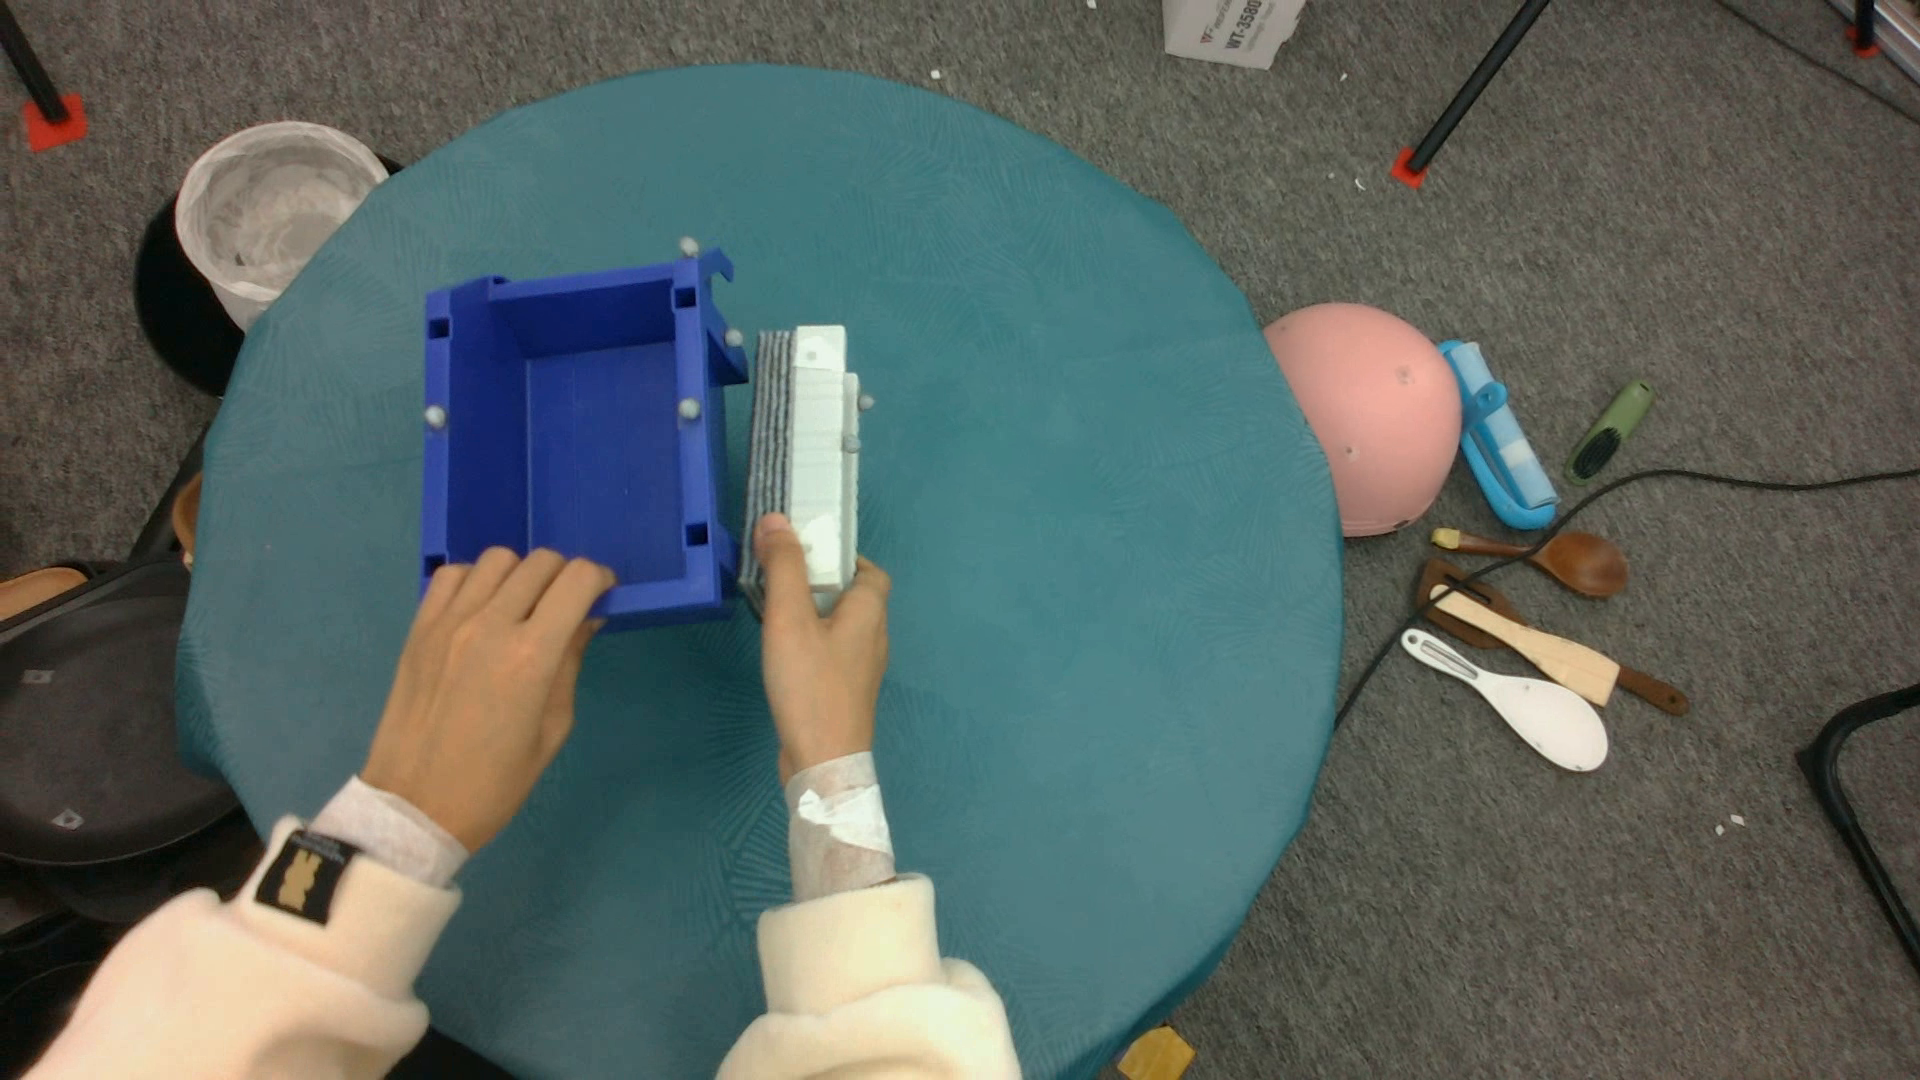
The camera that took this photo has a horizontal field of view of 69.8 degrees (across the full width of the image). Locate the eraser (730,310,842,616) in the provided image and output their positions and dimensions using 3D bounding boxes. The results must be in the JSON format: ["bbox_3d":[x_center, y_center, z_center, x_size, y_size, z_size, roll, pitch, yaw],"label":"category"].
[{"bbox_3d":[-0.079,-0.036,0.632,0.046,0.049,0.135,-3,65,0],"label":"eraser"}]

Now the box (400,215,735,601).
[{"bbox_3d":[-0.172,-0.060,0.610,0.124,0.082,0.180,-5,76,4],"label":"box"}]
